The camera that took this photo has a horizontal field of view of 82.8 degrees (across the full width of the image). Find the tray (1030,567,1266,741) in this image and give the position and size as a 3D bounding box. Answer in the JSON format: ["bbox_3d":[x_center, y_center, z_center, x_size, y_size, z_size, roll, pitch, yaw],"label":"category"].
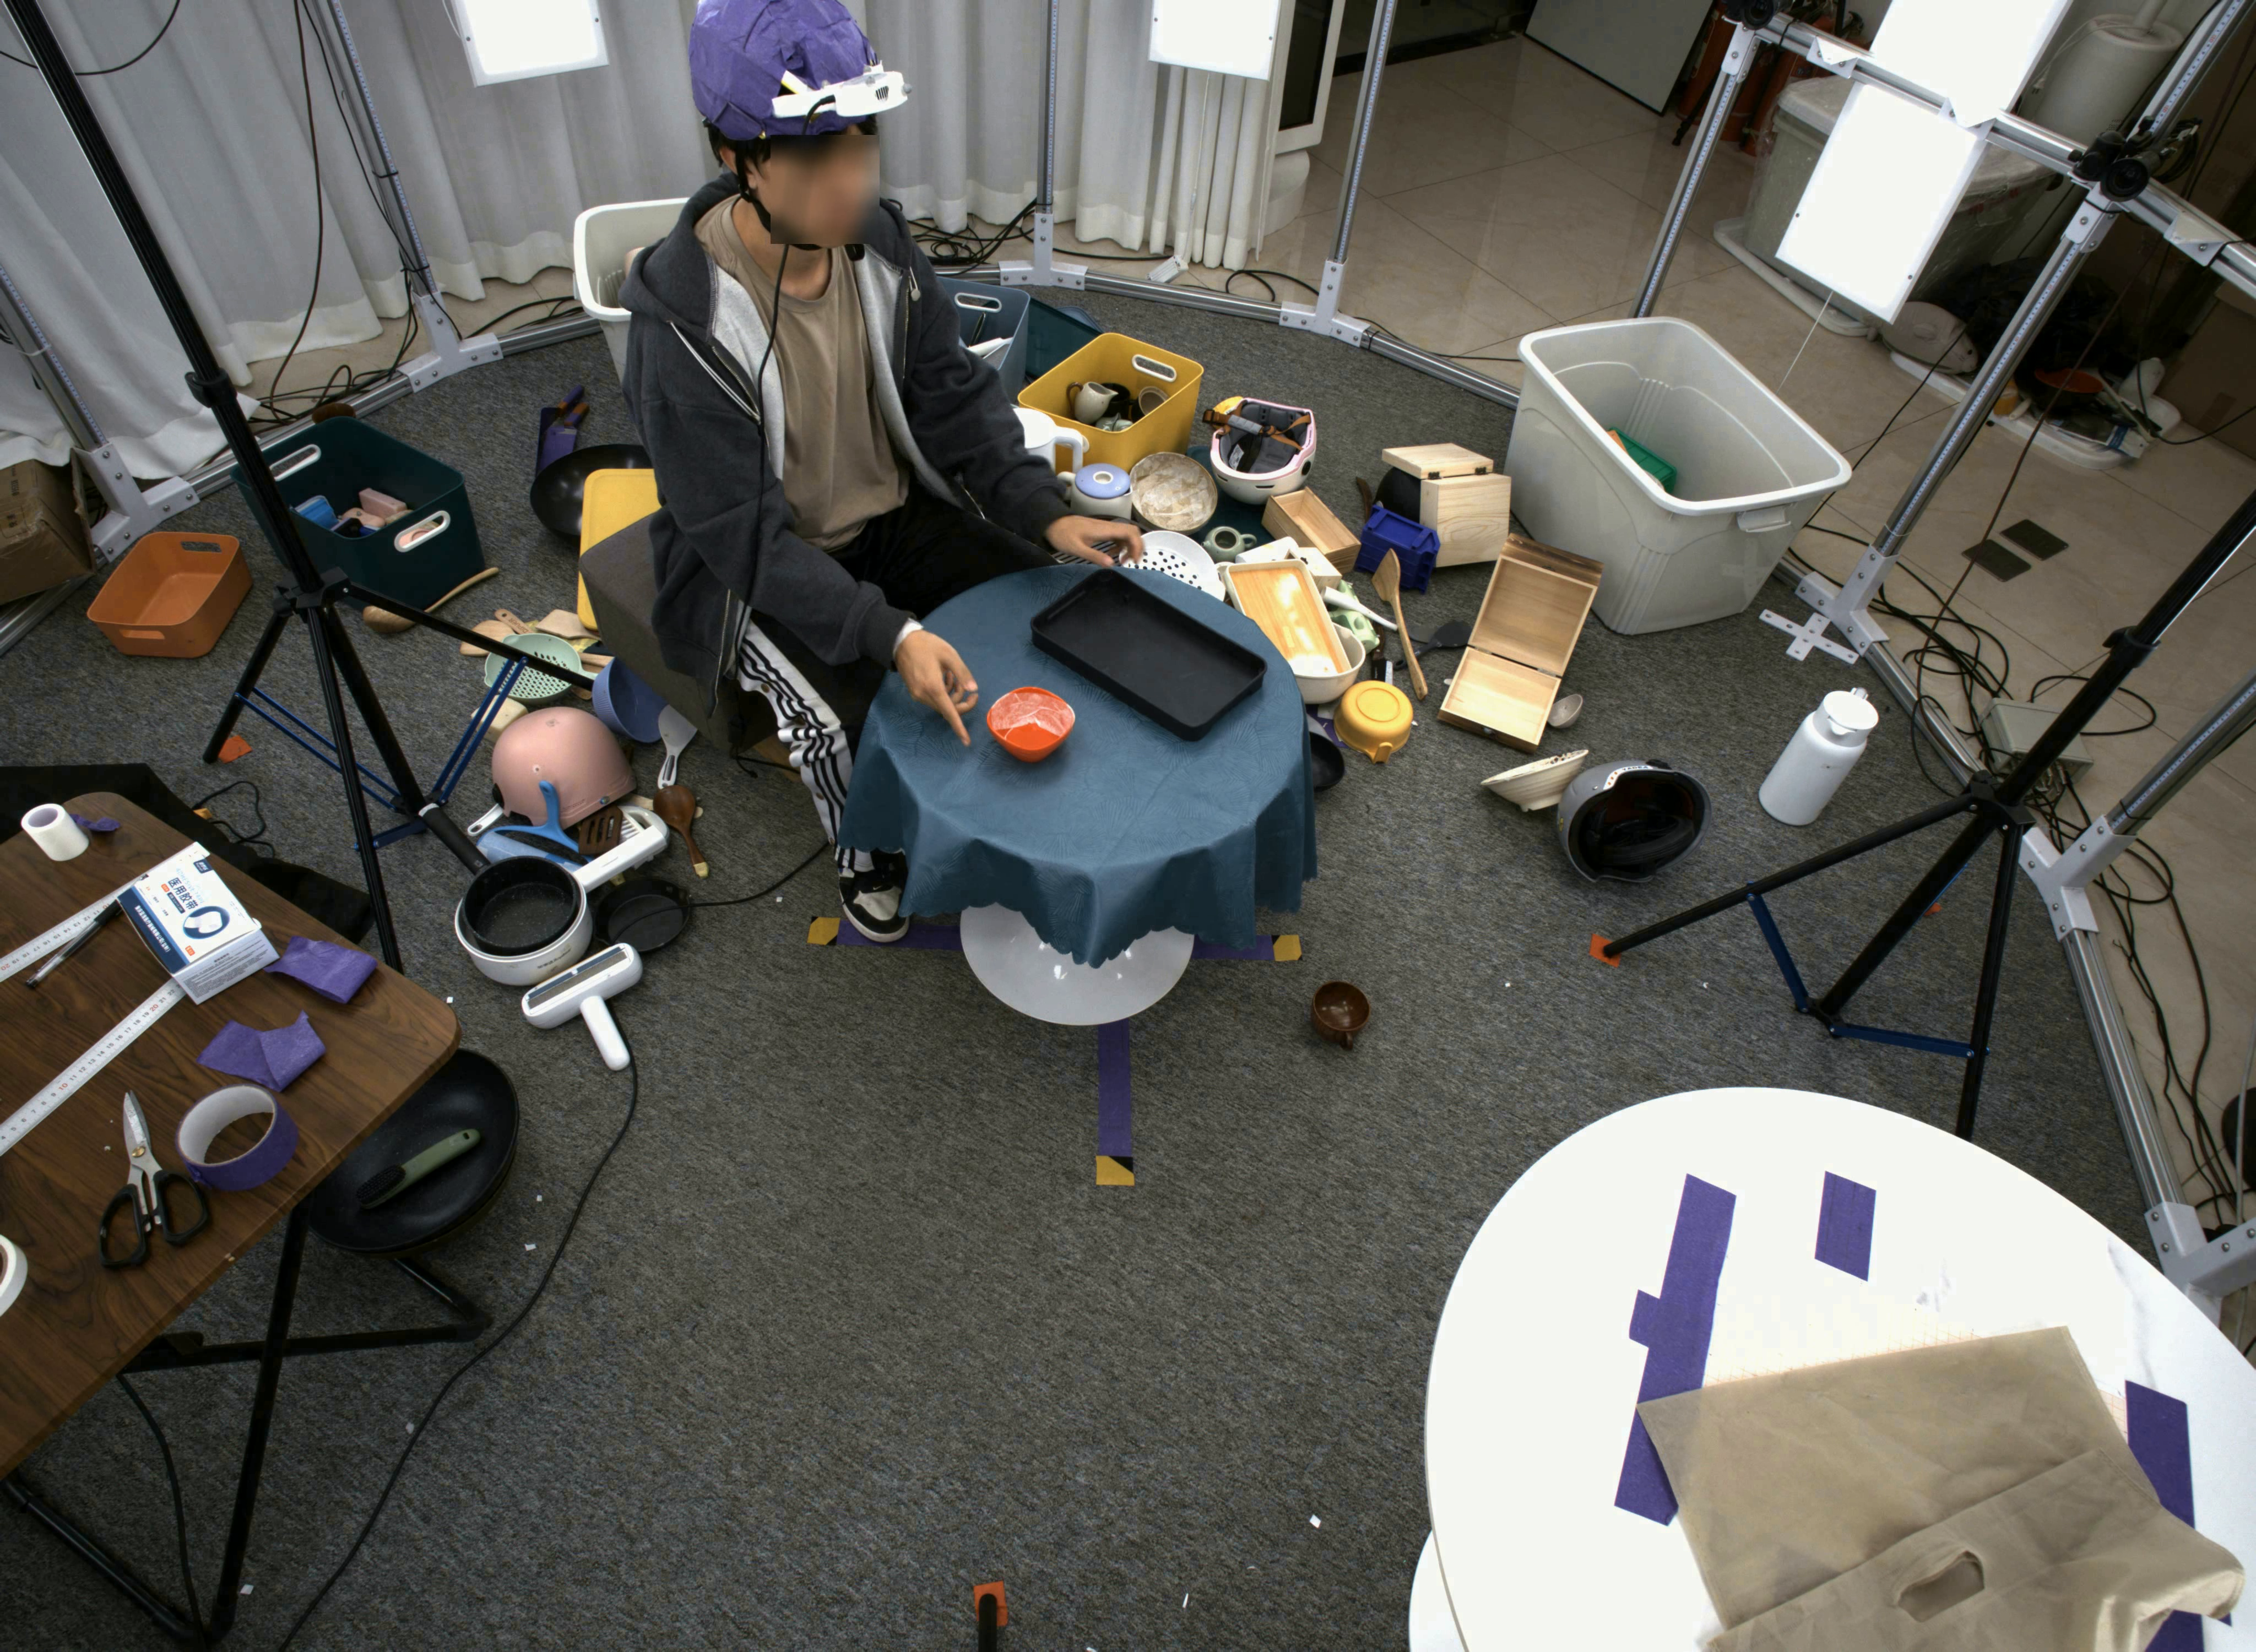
[{"bbox_3d":[0.026,-0.255,1.864,0.322,0.036,0.186,34,55,23],"label":"tray"}]

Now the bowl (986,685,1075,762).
[{"bbox_3d":[-0.132,-0.132,1.736,0.119,0.050,0.122,2,51,-3],"label":"bowl"}]
